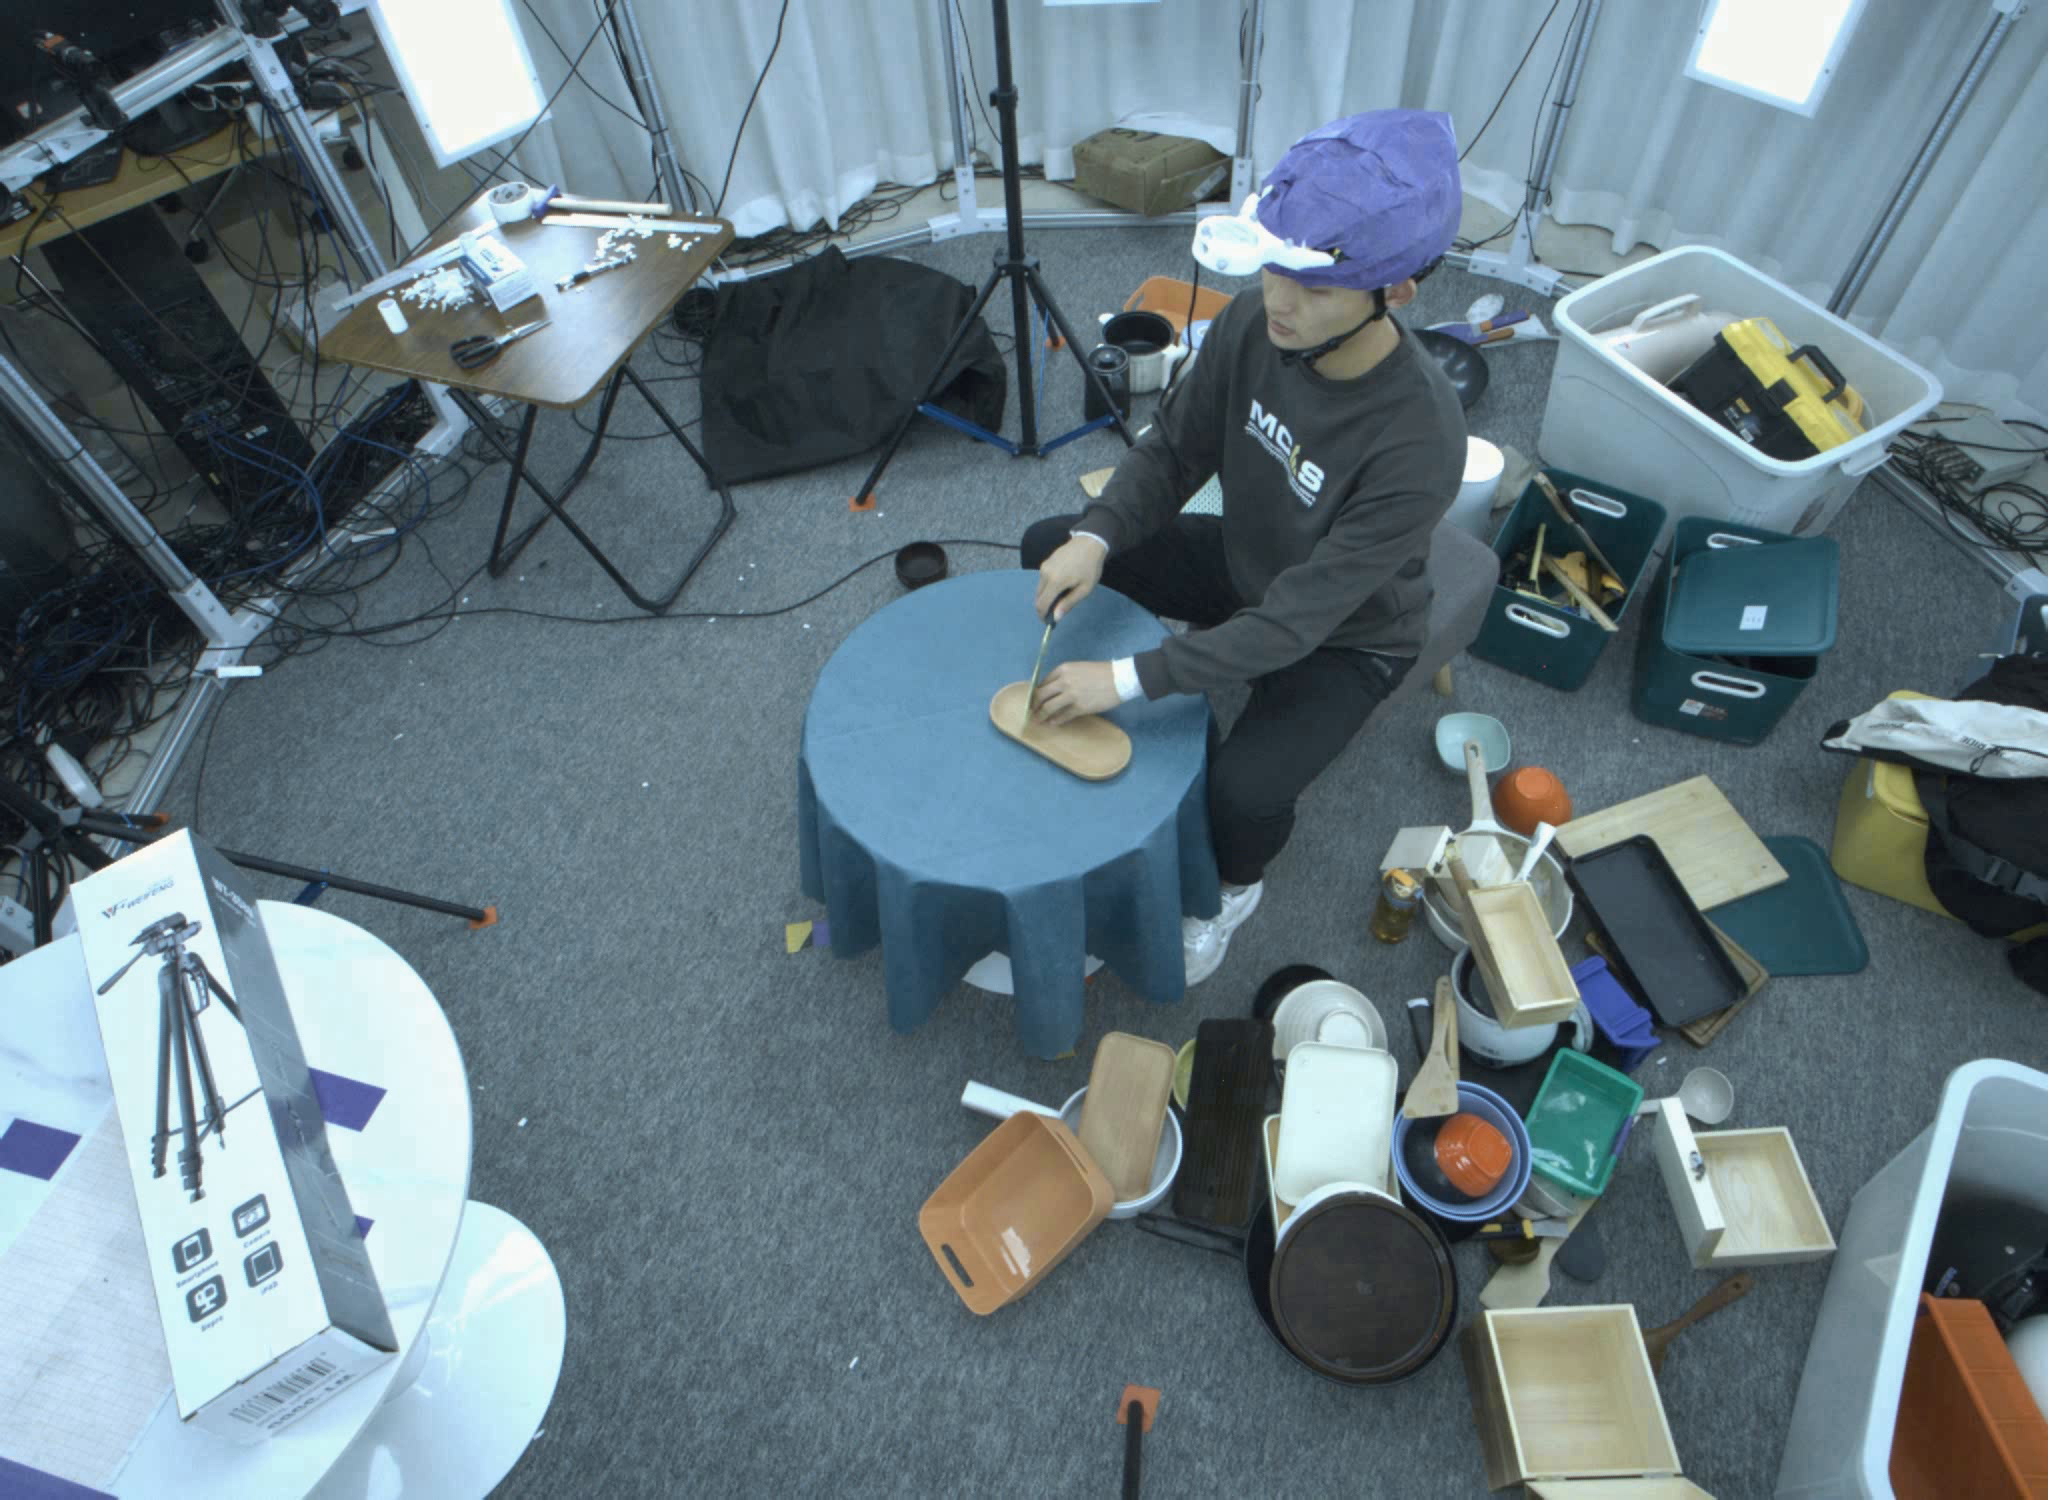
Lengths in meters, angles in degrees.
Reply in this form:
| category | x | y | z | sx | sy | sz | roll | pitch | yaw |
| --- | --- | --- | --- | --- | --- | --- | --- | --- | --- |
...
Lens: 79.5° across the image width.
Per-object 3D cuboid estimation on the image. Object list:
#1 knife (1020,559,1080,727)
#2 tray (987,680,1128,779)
| category | x | y | z | sx | sy | sz | roll | pitch | yaw |
| --- | --- | --- | --- | --- | --- | --- | --- | --- | --- |
| knife | 0.036 | -0.161 | 1.835 | 0.027 | 0.081 | 0.288 | 17 | 67 | 3 |
| tray | 0.048 | -0.031 | 1.806 | 0.227 | 0.020 | 0.102 | 30 | 59 | 22 |
